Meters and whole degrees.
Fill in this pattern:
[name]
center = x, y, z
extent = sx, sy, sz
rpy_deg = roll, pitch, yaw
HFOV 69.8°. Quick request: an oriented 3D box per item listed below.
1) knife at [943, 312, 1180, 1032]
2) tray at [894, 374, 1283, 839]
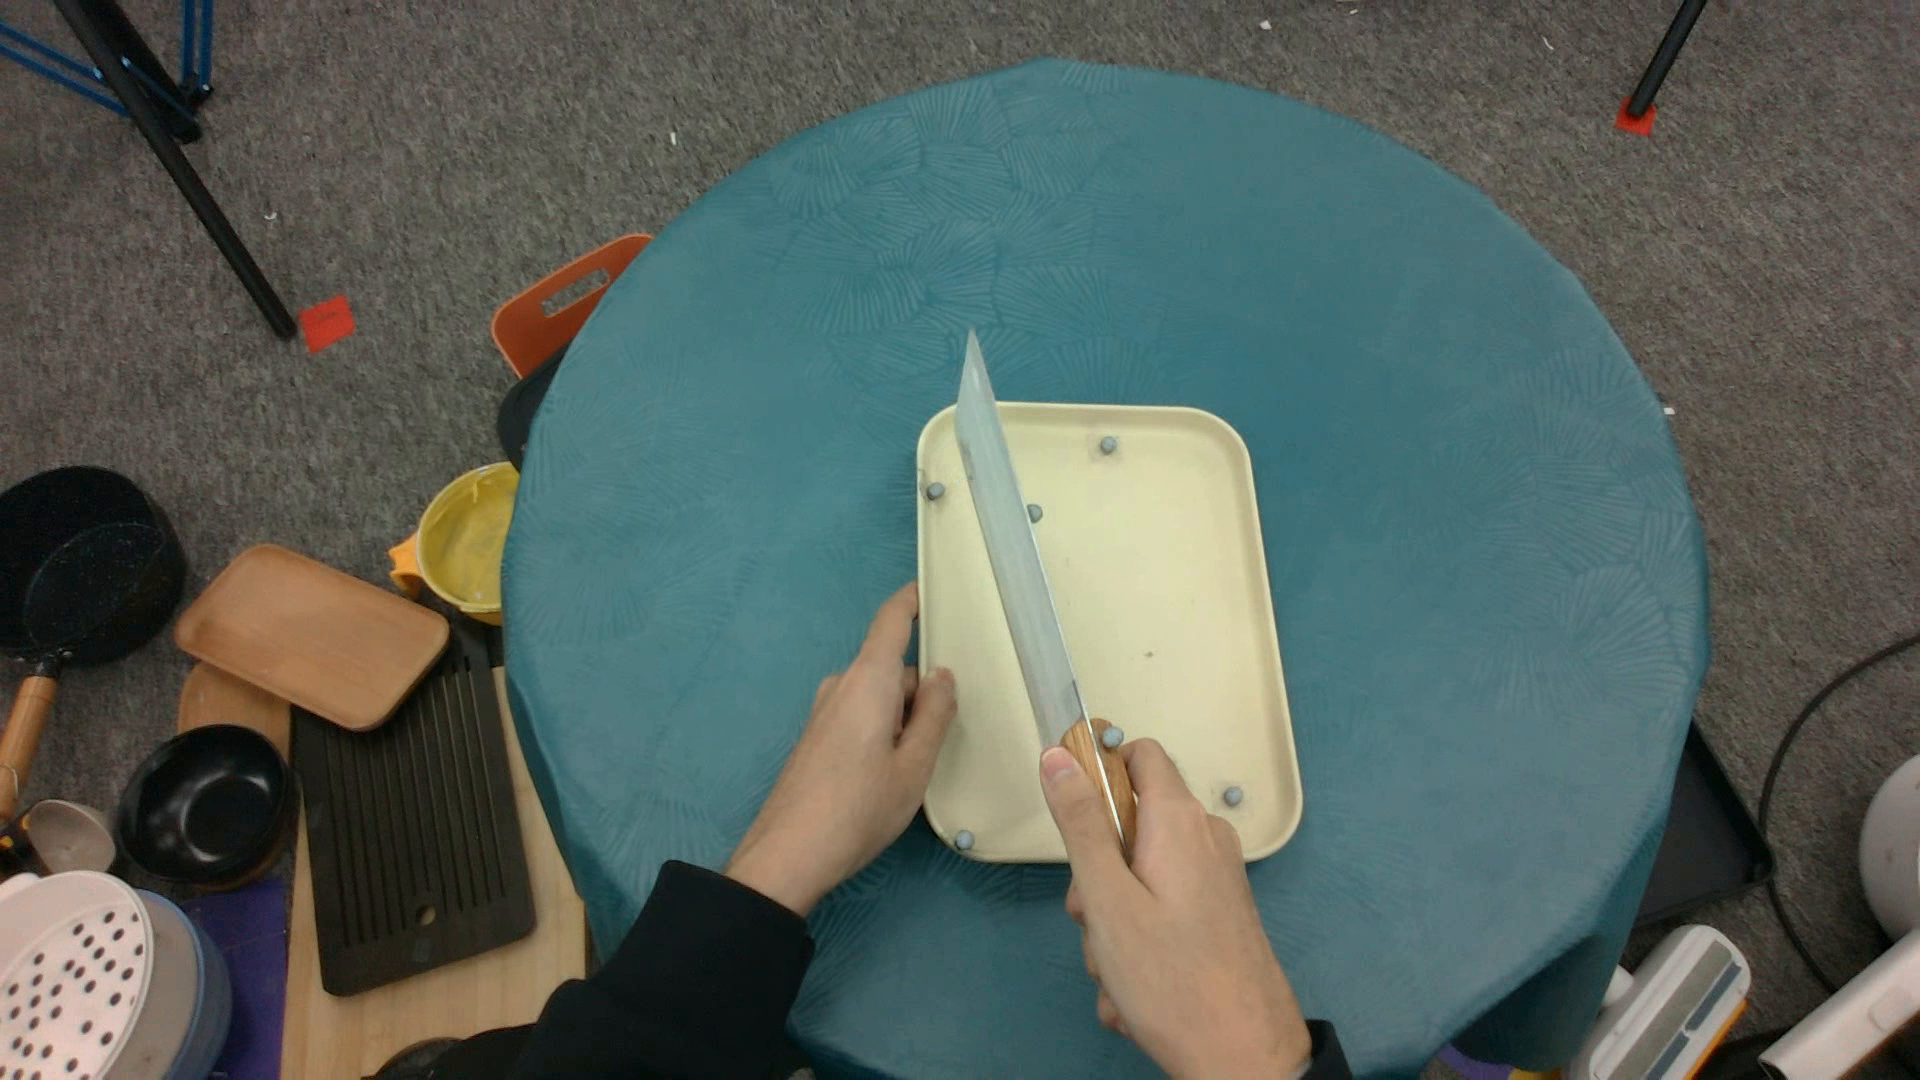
[knife]
center = 0.032, 0.050, 0.575
extent = 0.021, 0.092, 0.306
rpy_deg = -11, 67, -10
[tray]
center = 0.055, 0.025, 0.651
extent = 0.171, 0.017, 0.240
rpy_deg = 2, 61, -7
